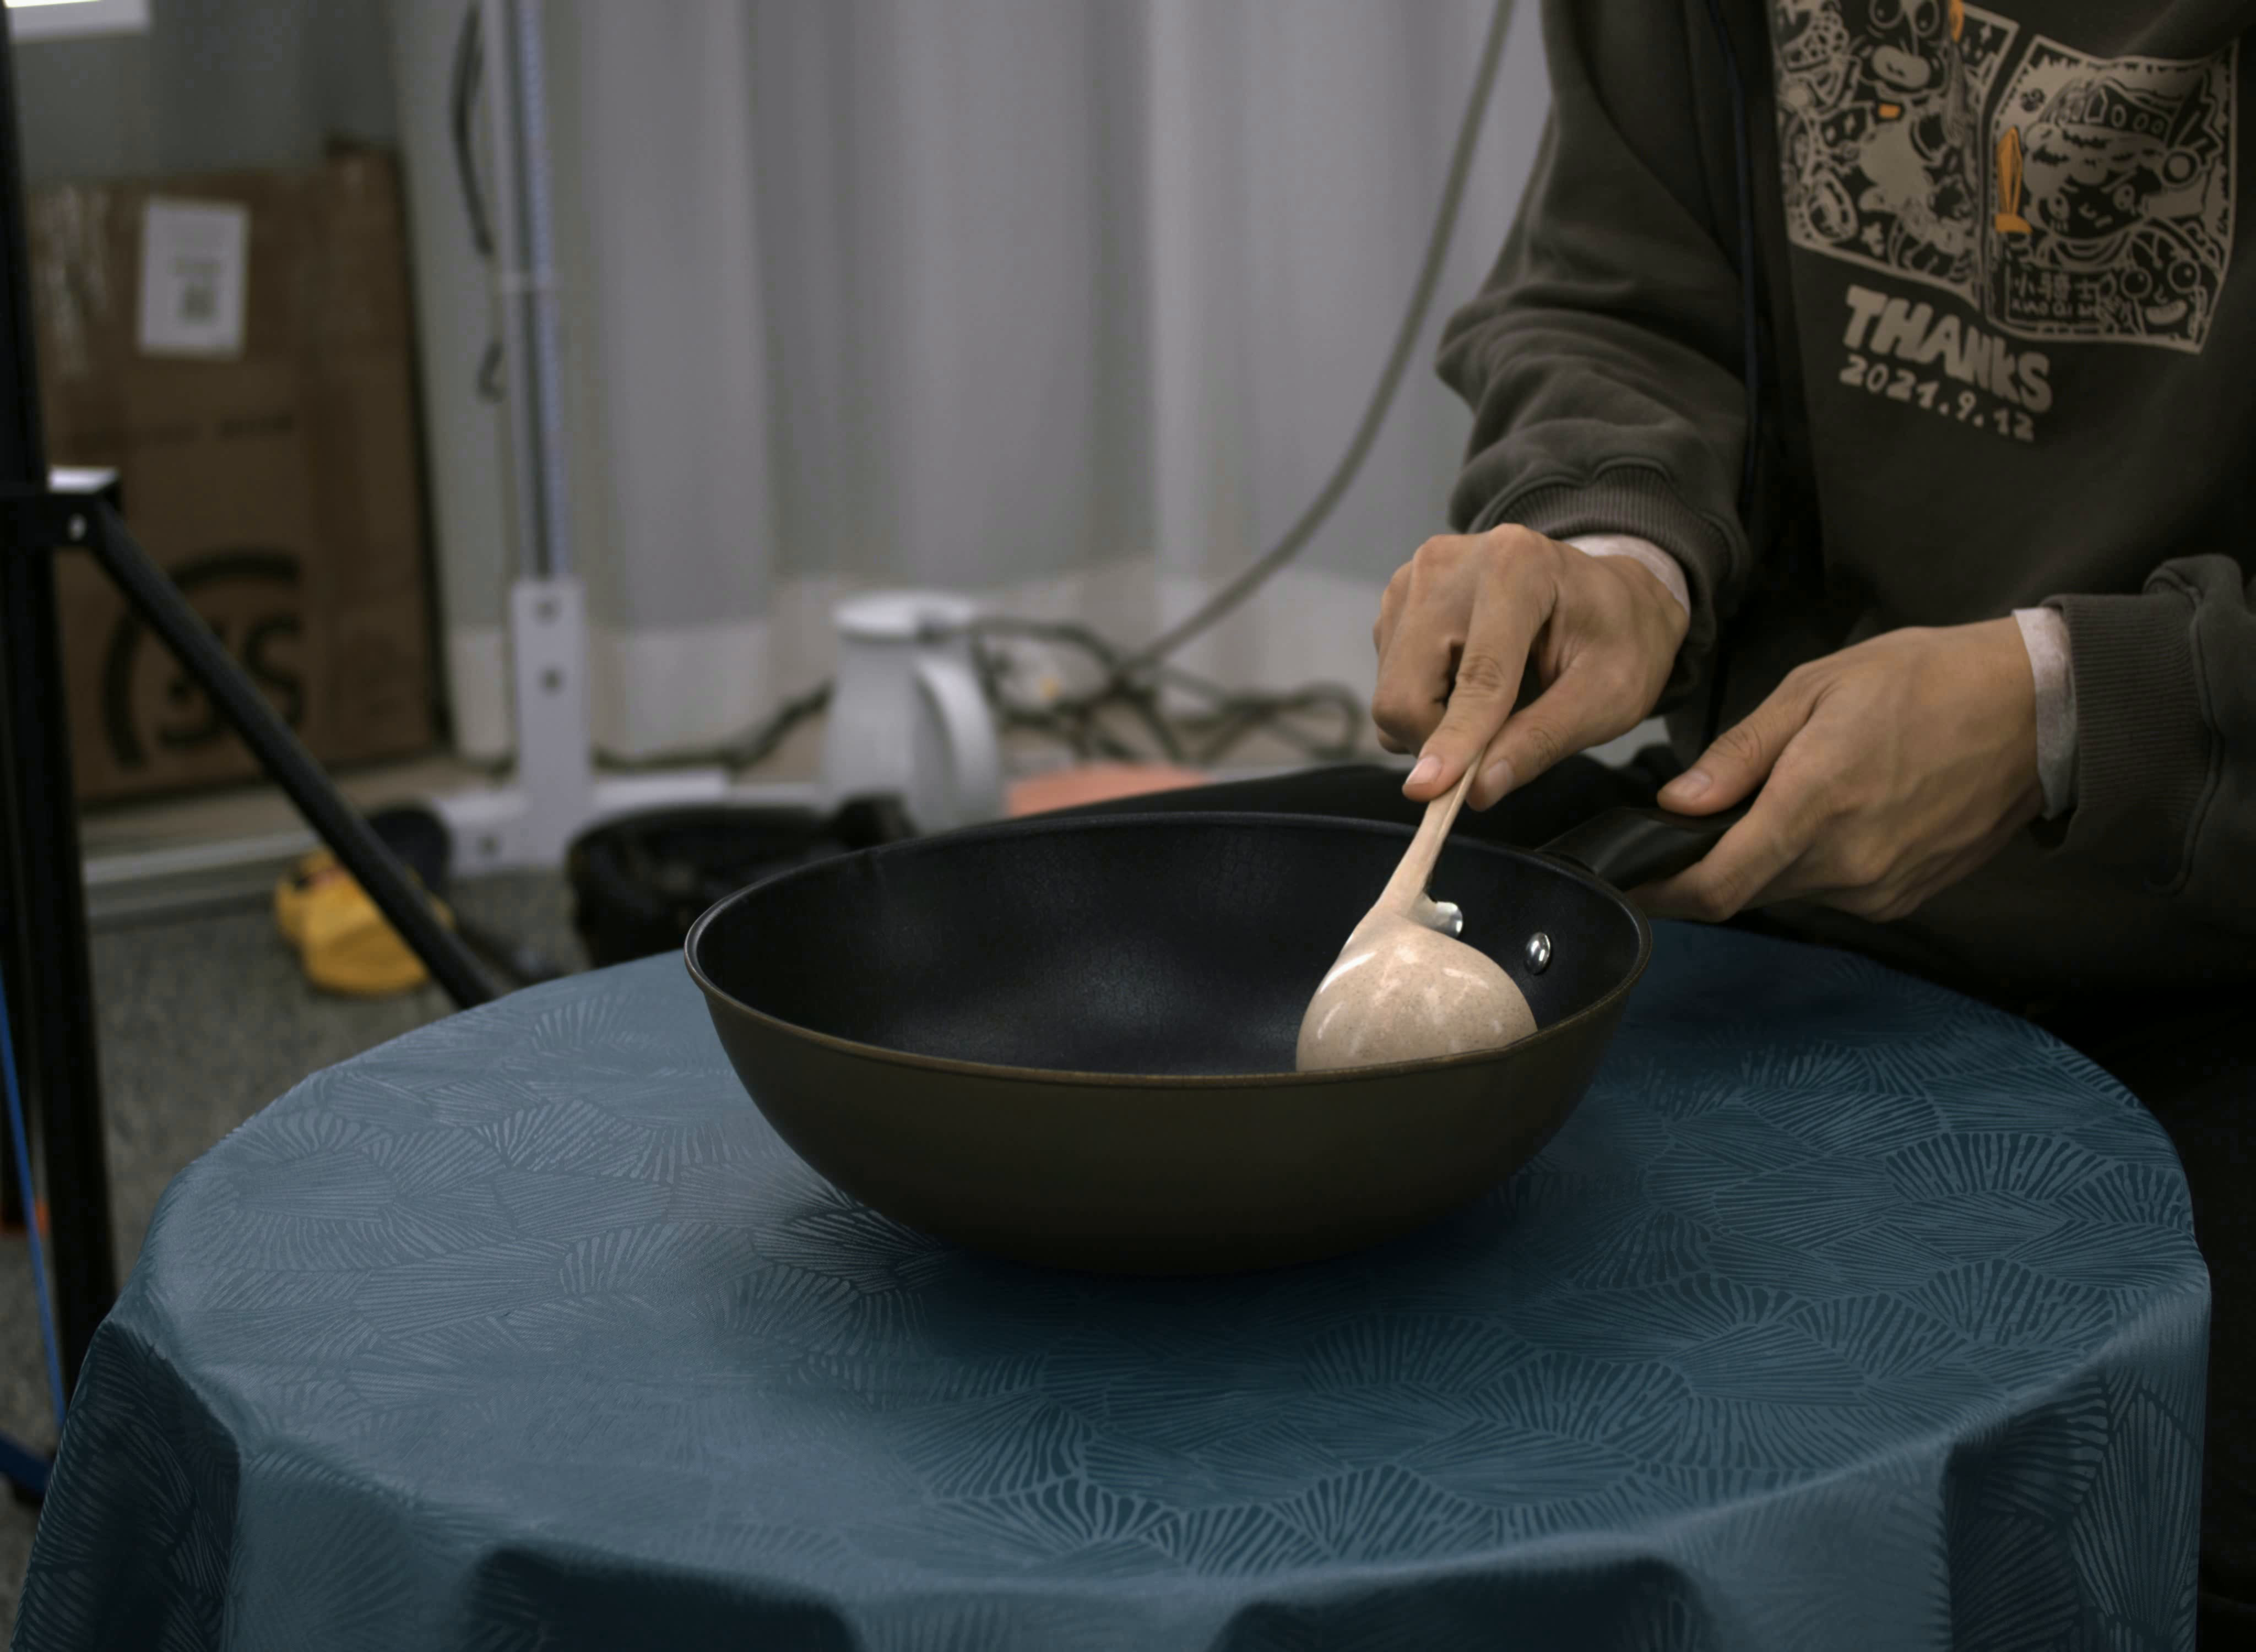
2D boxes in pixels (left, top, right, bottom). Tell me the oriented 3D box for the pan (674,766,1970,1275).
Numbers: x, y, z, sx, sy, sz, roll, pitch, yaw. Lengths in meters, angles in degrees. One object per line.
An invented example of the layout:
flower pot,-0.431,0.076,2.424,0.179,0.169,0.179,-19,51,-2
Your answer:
pan,0.080,0.053,1.597,0.452,0.087,0.295,-11,18,-36

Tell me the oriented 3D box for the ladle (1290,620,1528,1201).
ladle,0.106,0.023,1.577,0.073,0.072,0.253,-29,16,28
